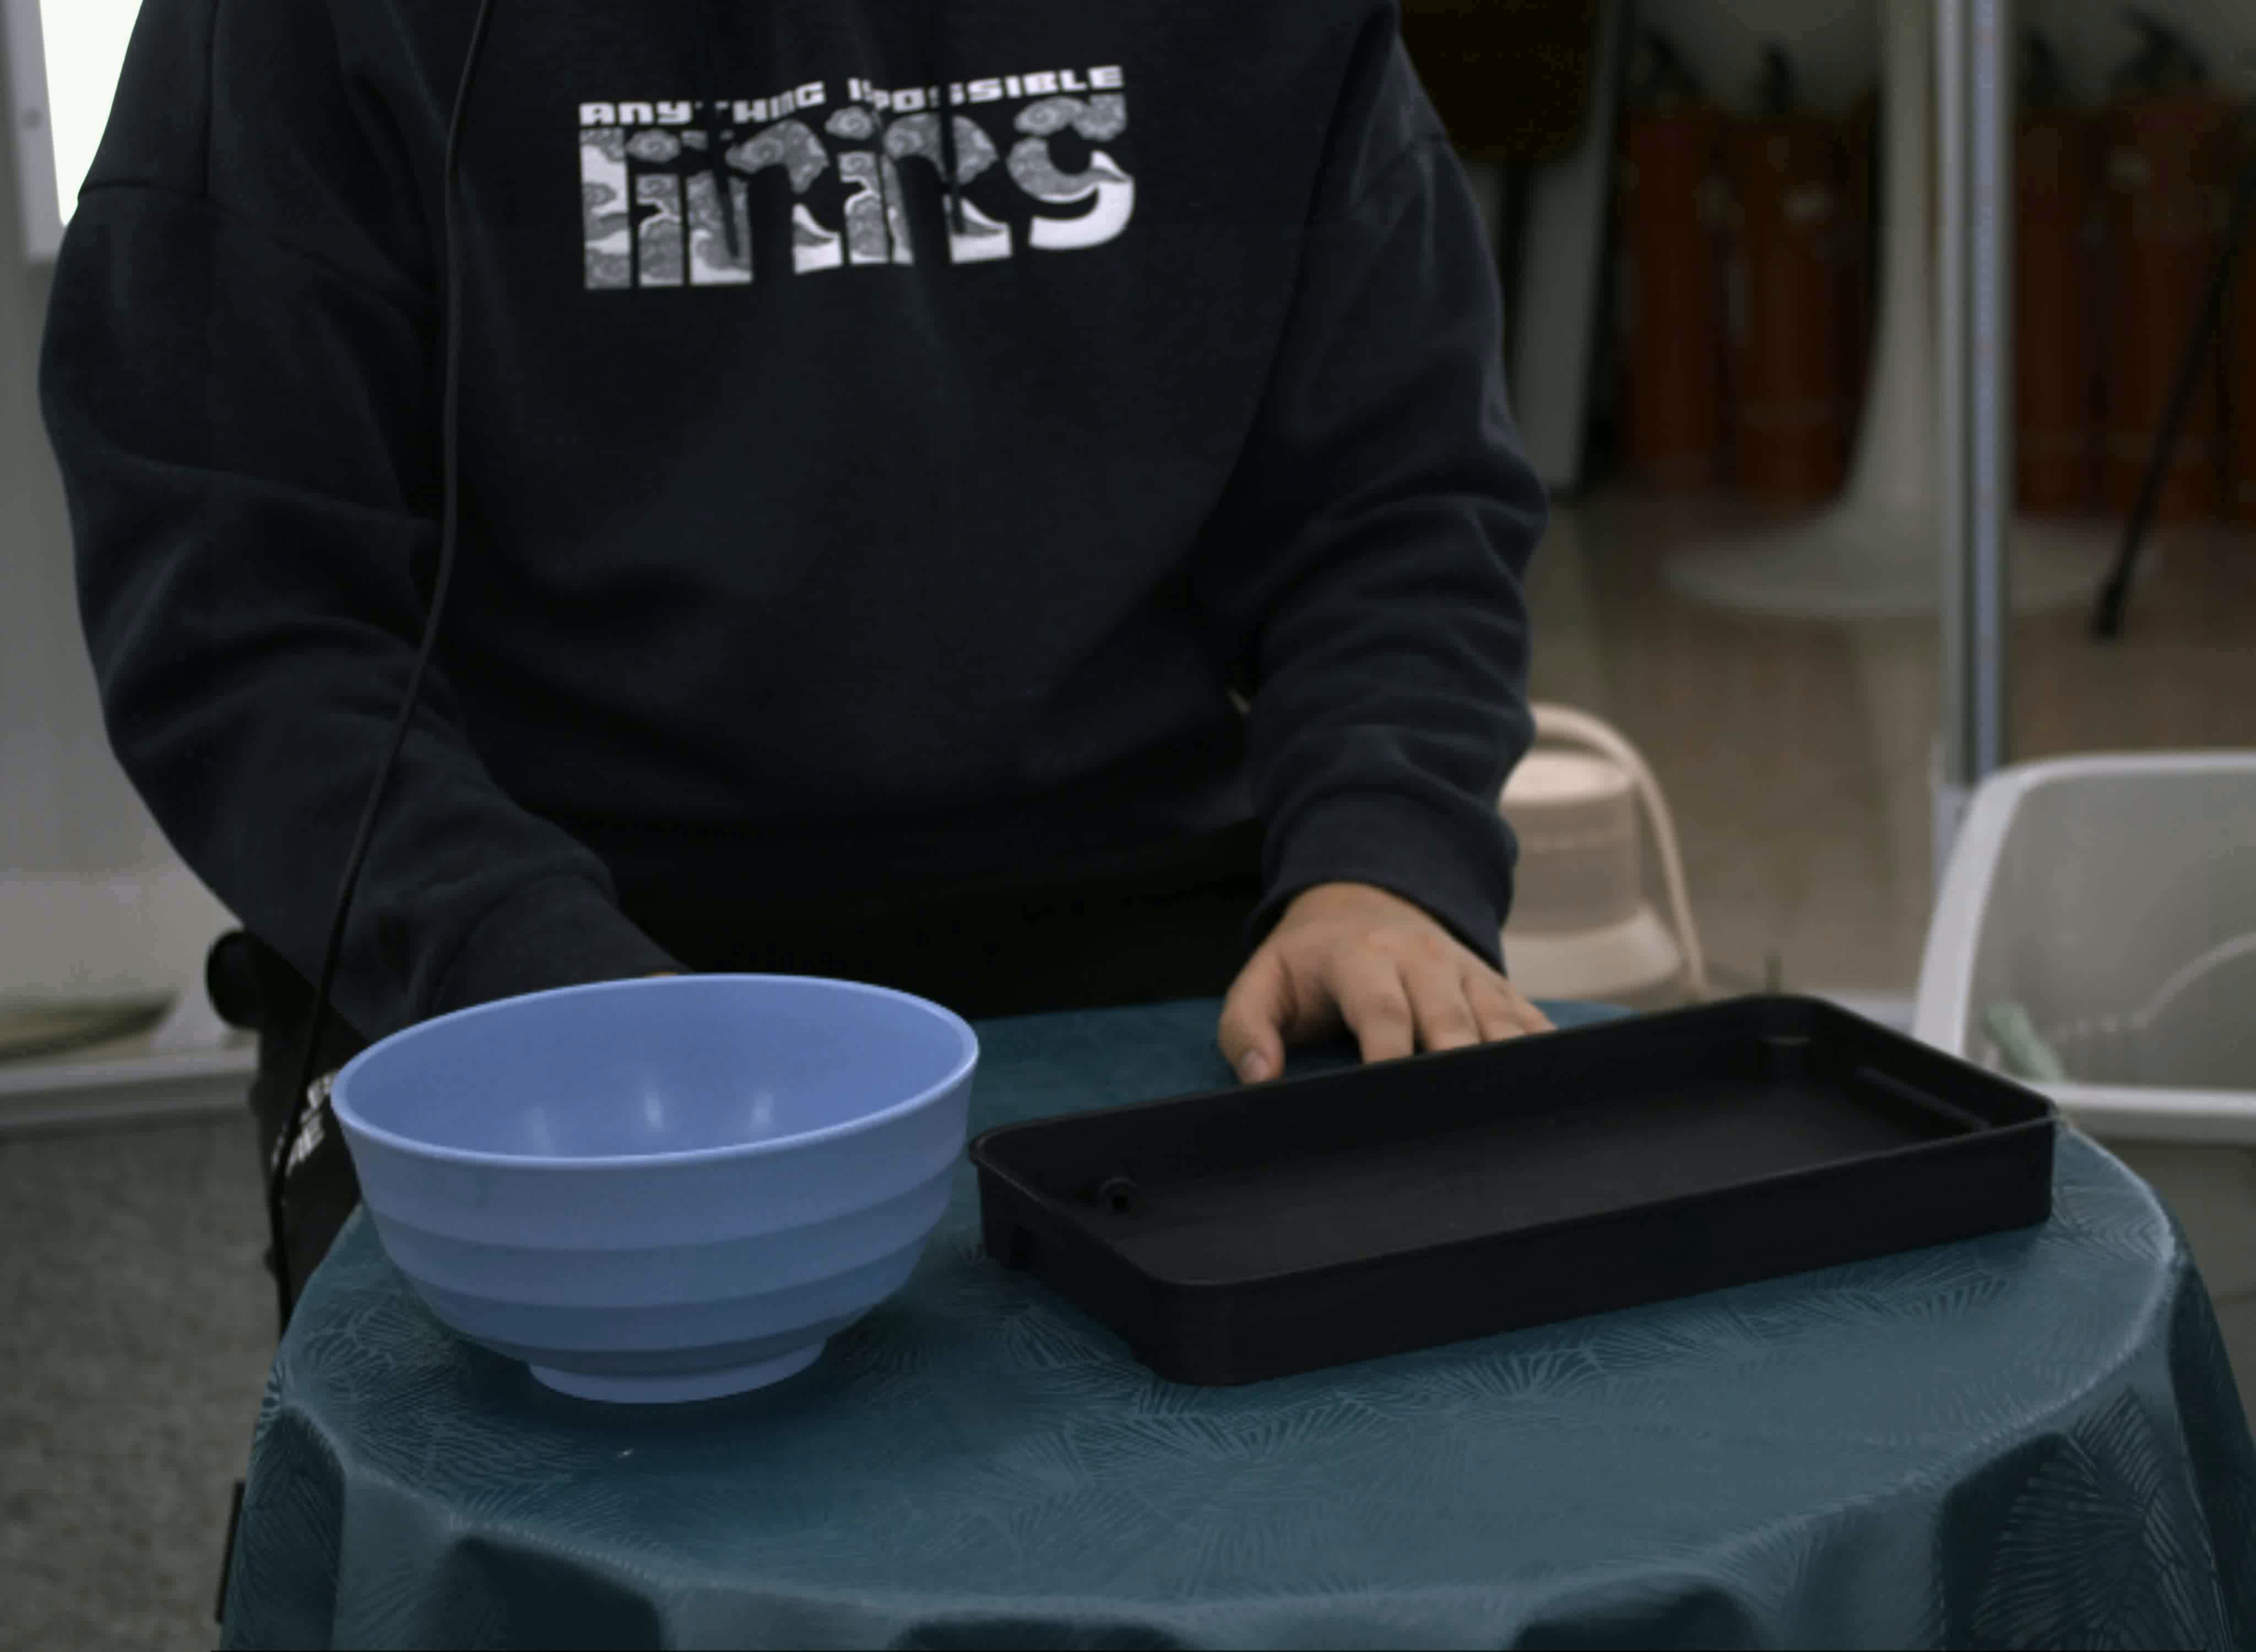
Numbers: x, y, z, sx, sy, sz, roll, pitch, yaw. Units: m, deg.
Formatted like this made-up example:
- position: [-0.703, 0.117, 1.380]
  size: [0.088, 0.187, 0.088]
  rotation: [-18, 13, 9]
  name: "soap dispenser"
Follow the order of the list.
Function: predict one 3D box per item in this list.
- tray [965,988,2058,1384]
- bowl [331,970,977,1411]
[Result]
- position: [0.121, 0.110, 1.707]
  size: [0.311, 0.037, 0.186]
  rotation: [-9, 14, -21]
  name: "tray"
- position: [-0.138, 0.116, 1.634]
  size: [0.194, 0.096, 0.197]
  rotation: [-5, 14, 0]
  name: "bowl"
